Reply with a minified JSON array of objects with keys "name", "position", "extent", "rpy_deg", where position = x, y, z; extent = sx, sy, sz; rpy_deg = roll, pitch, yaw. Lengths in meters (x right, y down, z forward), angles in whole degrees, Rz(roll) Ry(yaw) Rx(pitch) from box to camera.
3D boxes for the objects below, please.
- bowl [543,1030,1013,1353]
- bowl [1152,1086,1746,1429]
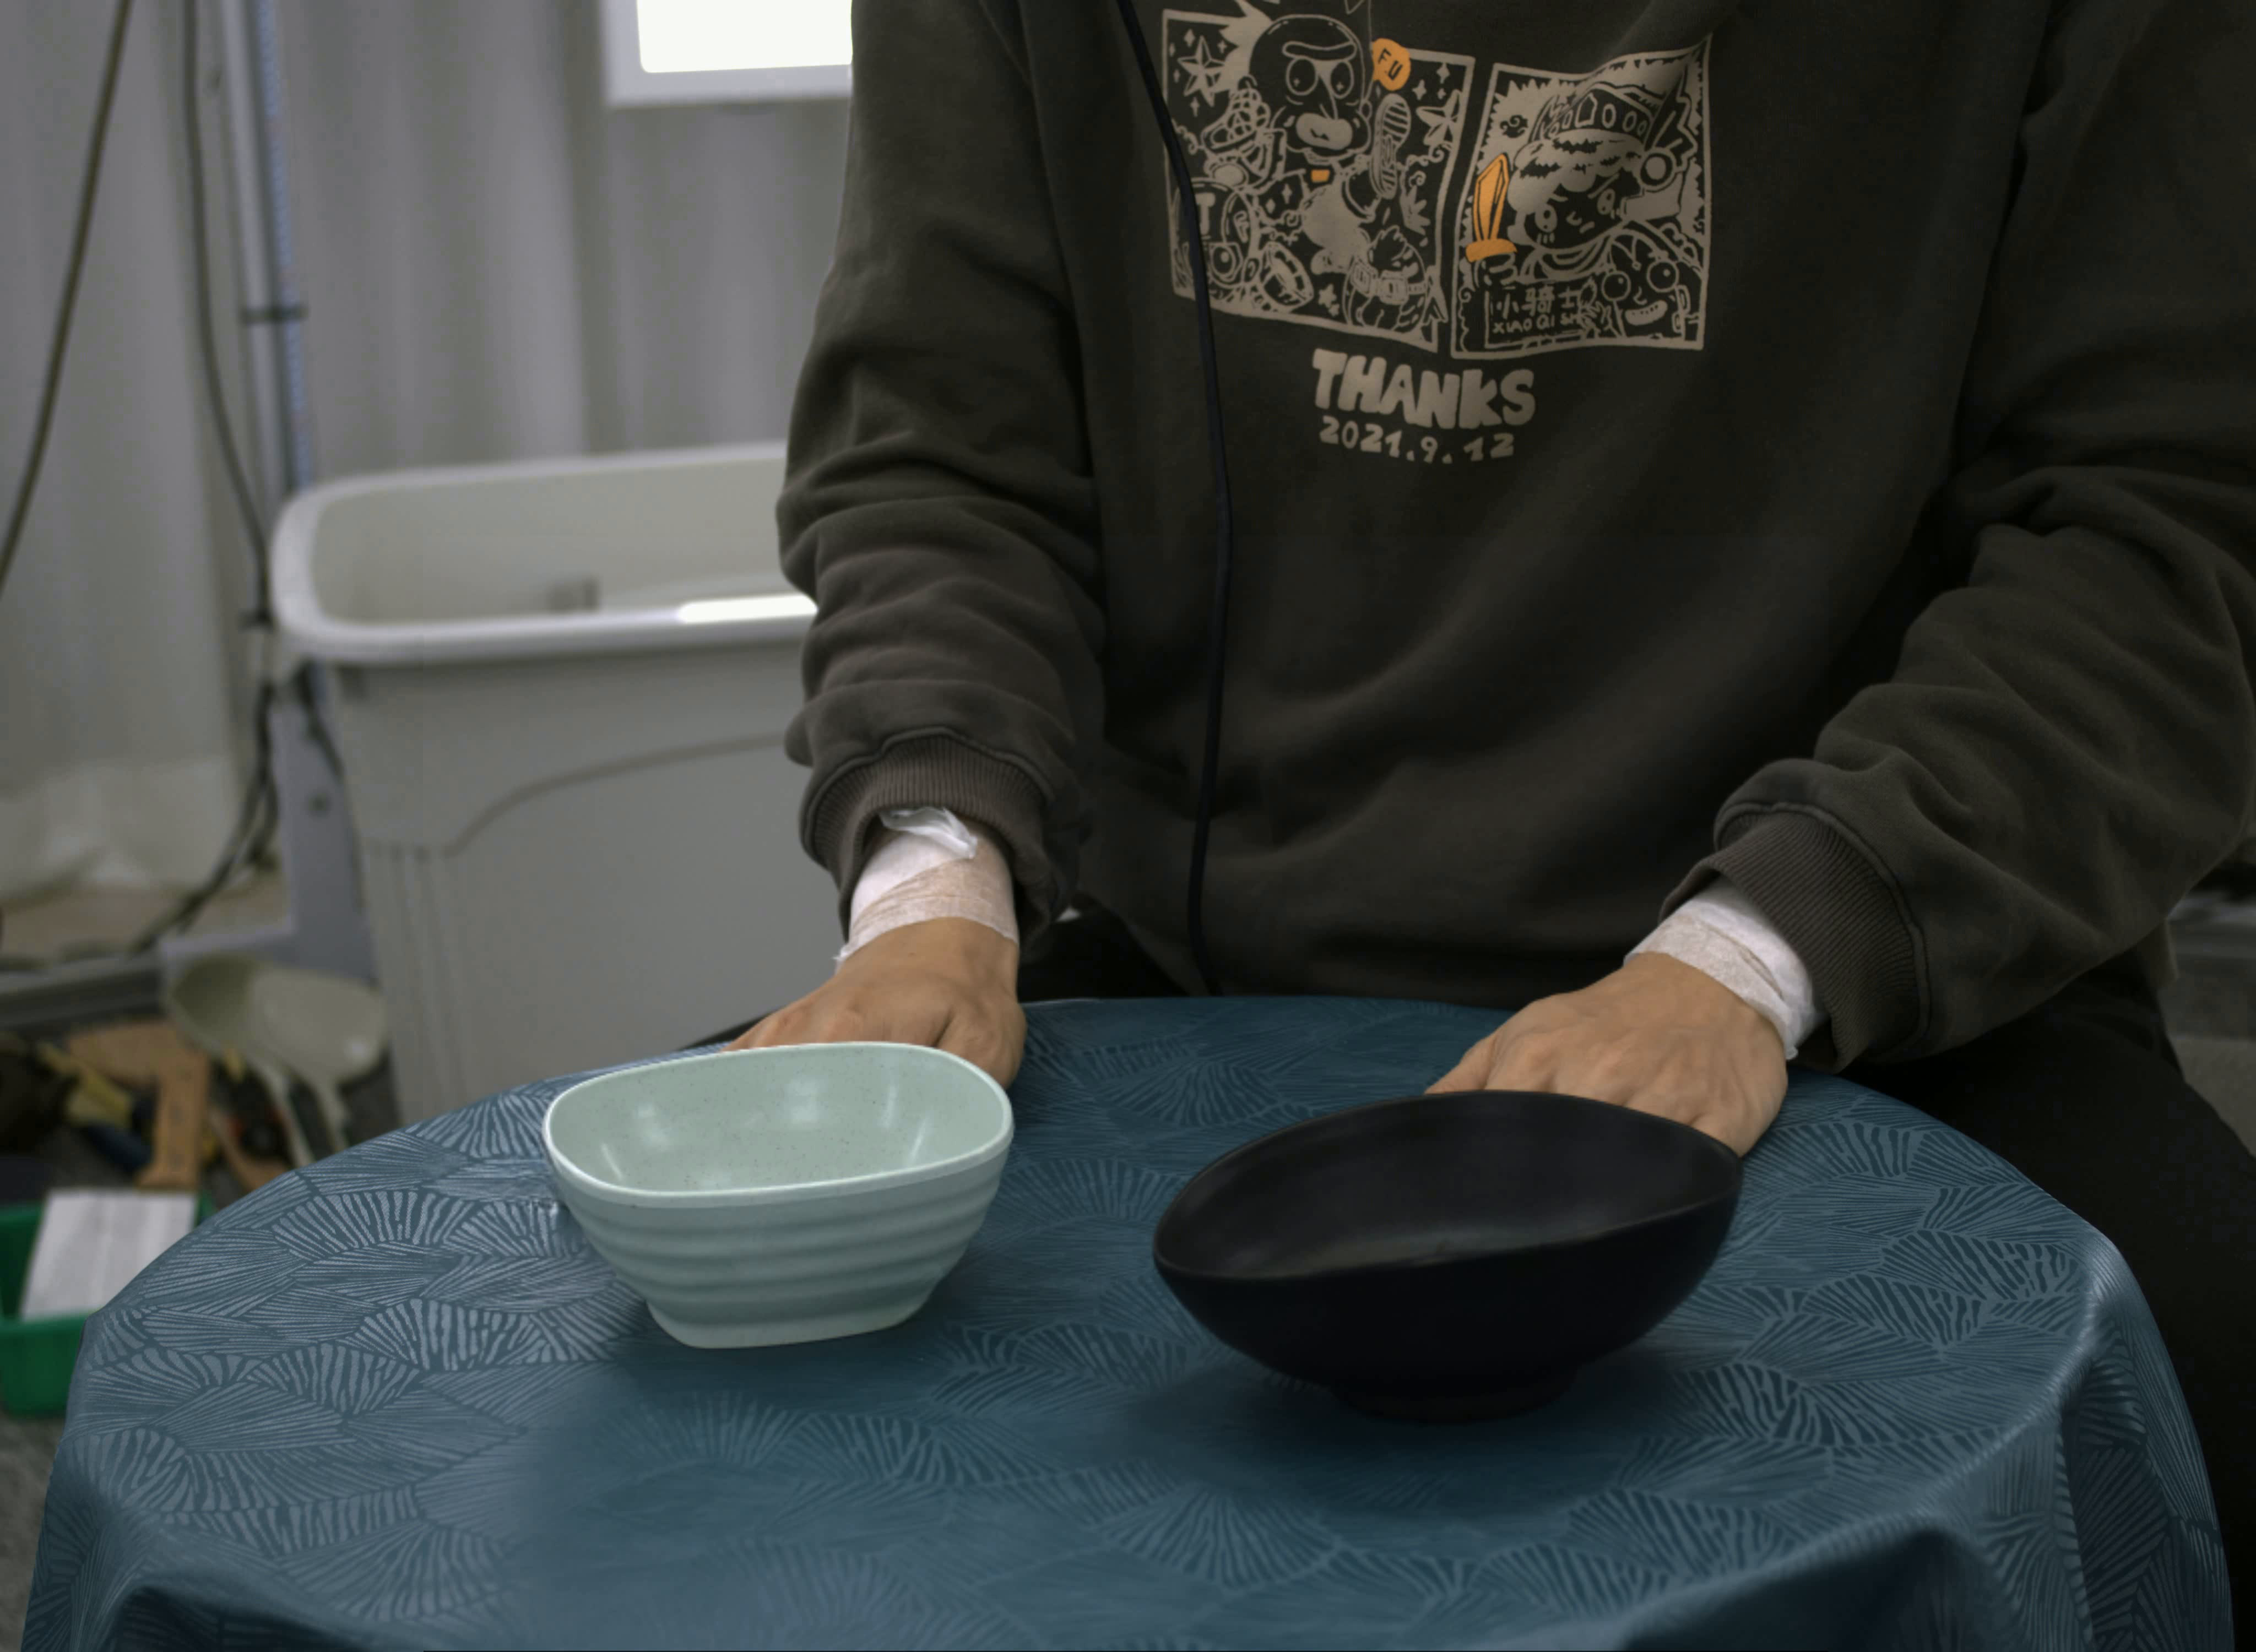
[{"name":"bowl","position":[-0.103,0.113,1.637],"extent":[0.151,0.058,0.152],"rpy_deg":[-3,17,1]},{"name":"bowl","position":[0.092,0.128,1.536],"extent":[0.169,0.066,0.138],"rpy_deg":[-8,16,-15]}]
